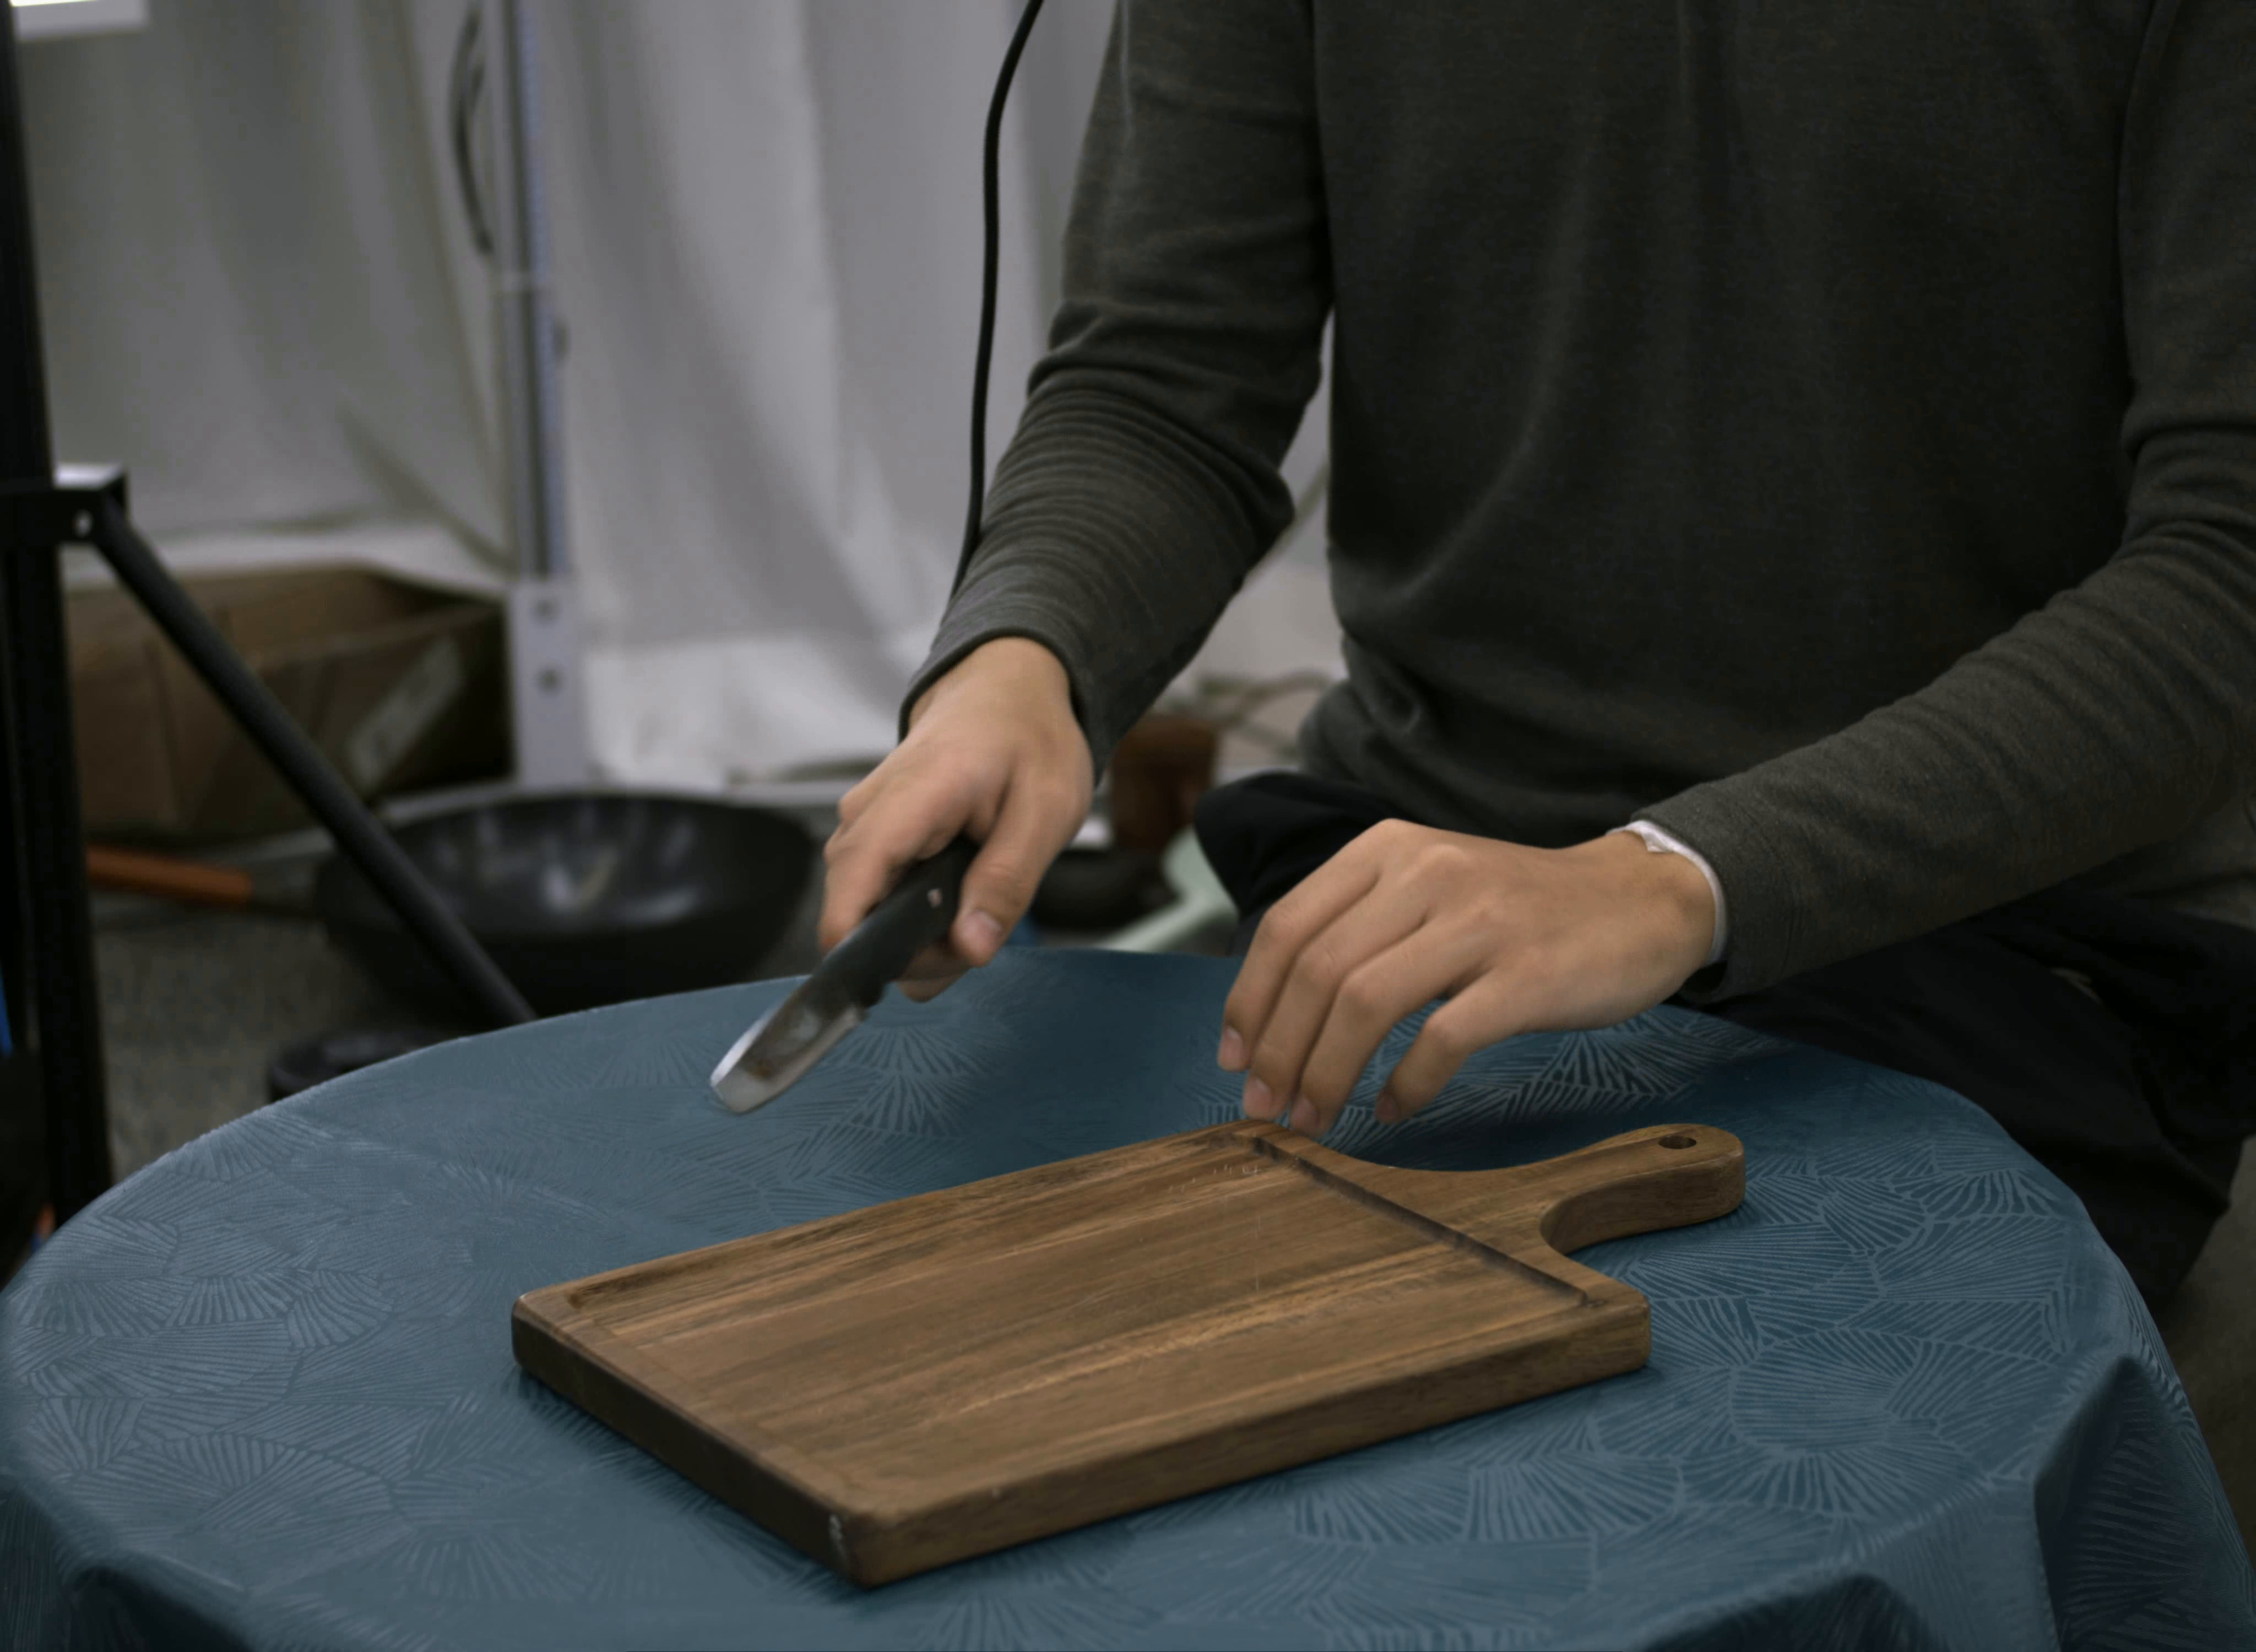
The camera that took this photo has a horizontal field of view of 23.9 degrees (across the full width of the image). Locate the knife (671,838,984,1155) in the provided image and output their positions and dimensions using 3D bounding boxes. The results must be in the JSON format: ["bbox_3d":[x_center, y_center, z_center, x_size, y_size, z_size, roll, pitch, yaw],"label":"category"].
[{"bbox_3d":[-0.086,0.047,1.523,0.016,0.024,0.236,-22,10,24],"label":"knife"}]

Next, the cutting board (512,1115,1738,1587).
[{"bbox_3d":[0.029,0.127,1.452,0.344,0.023,0.205,-12,19,-30],"label":"cutting board"}]
